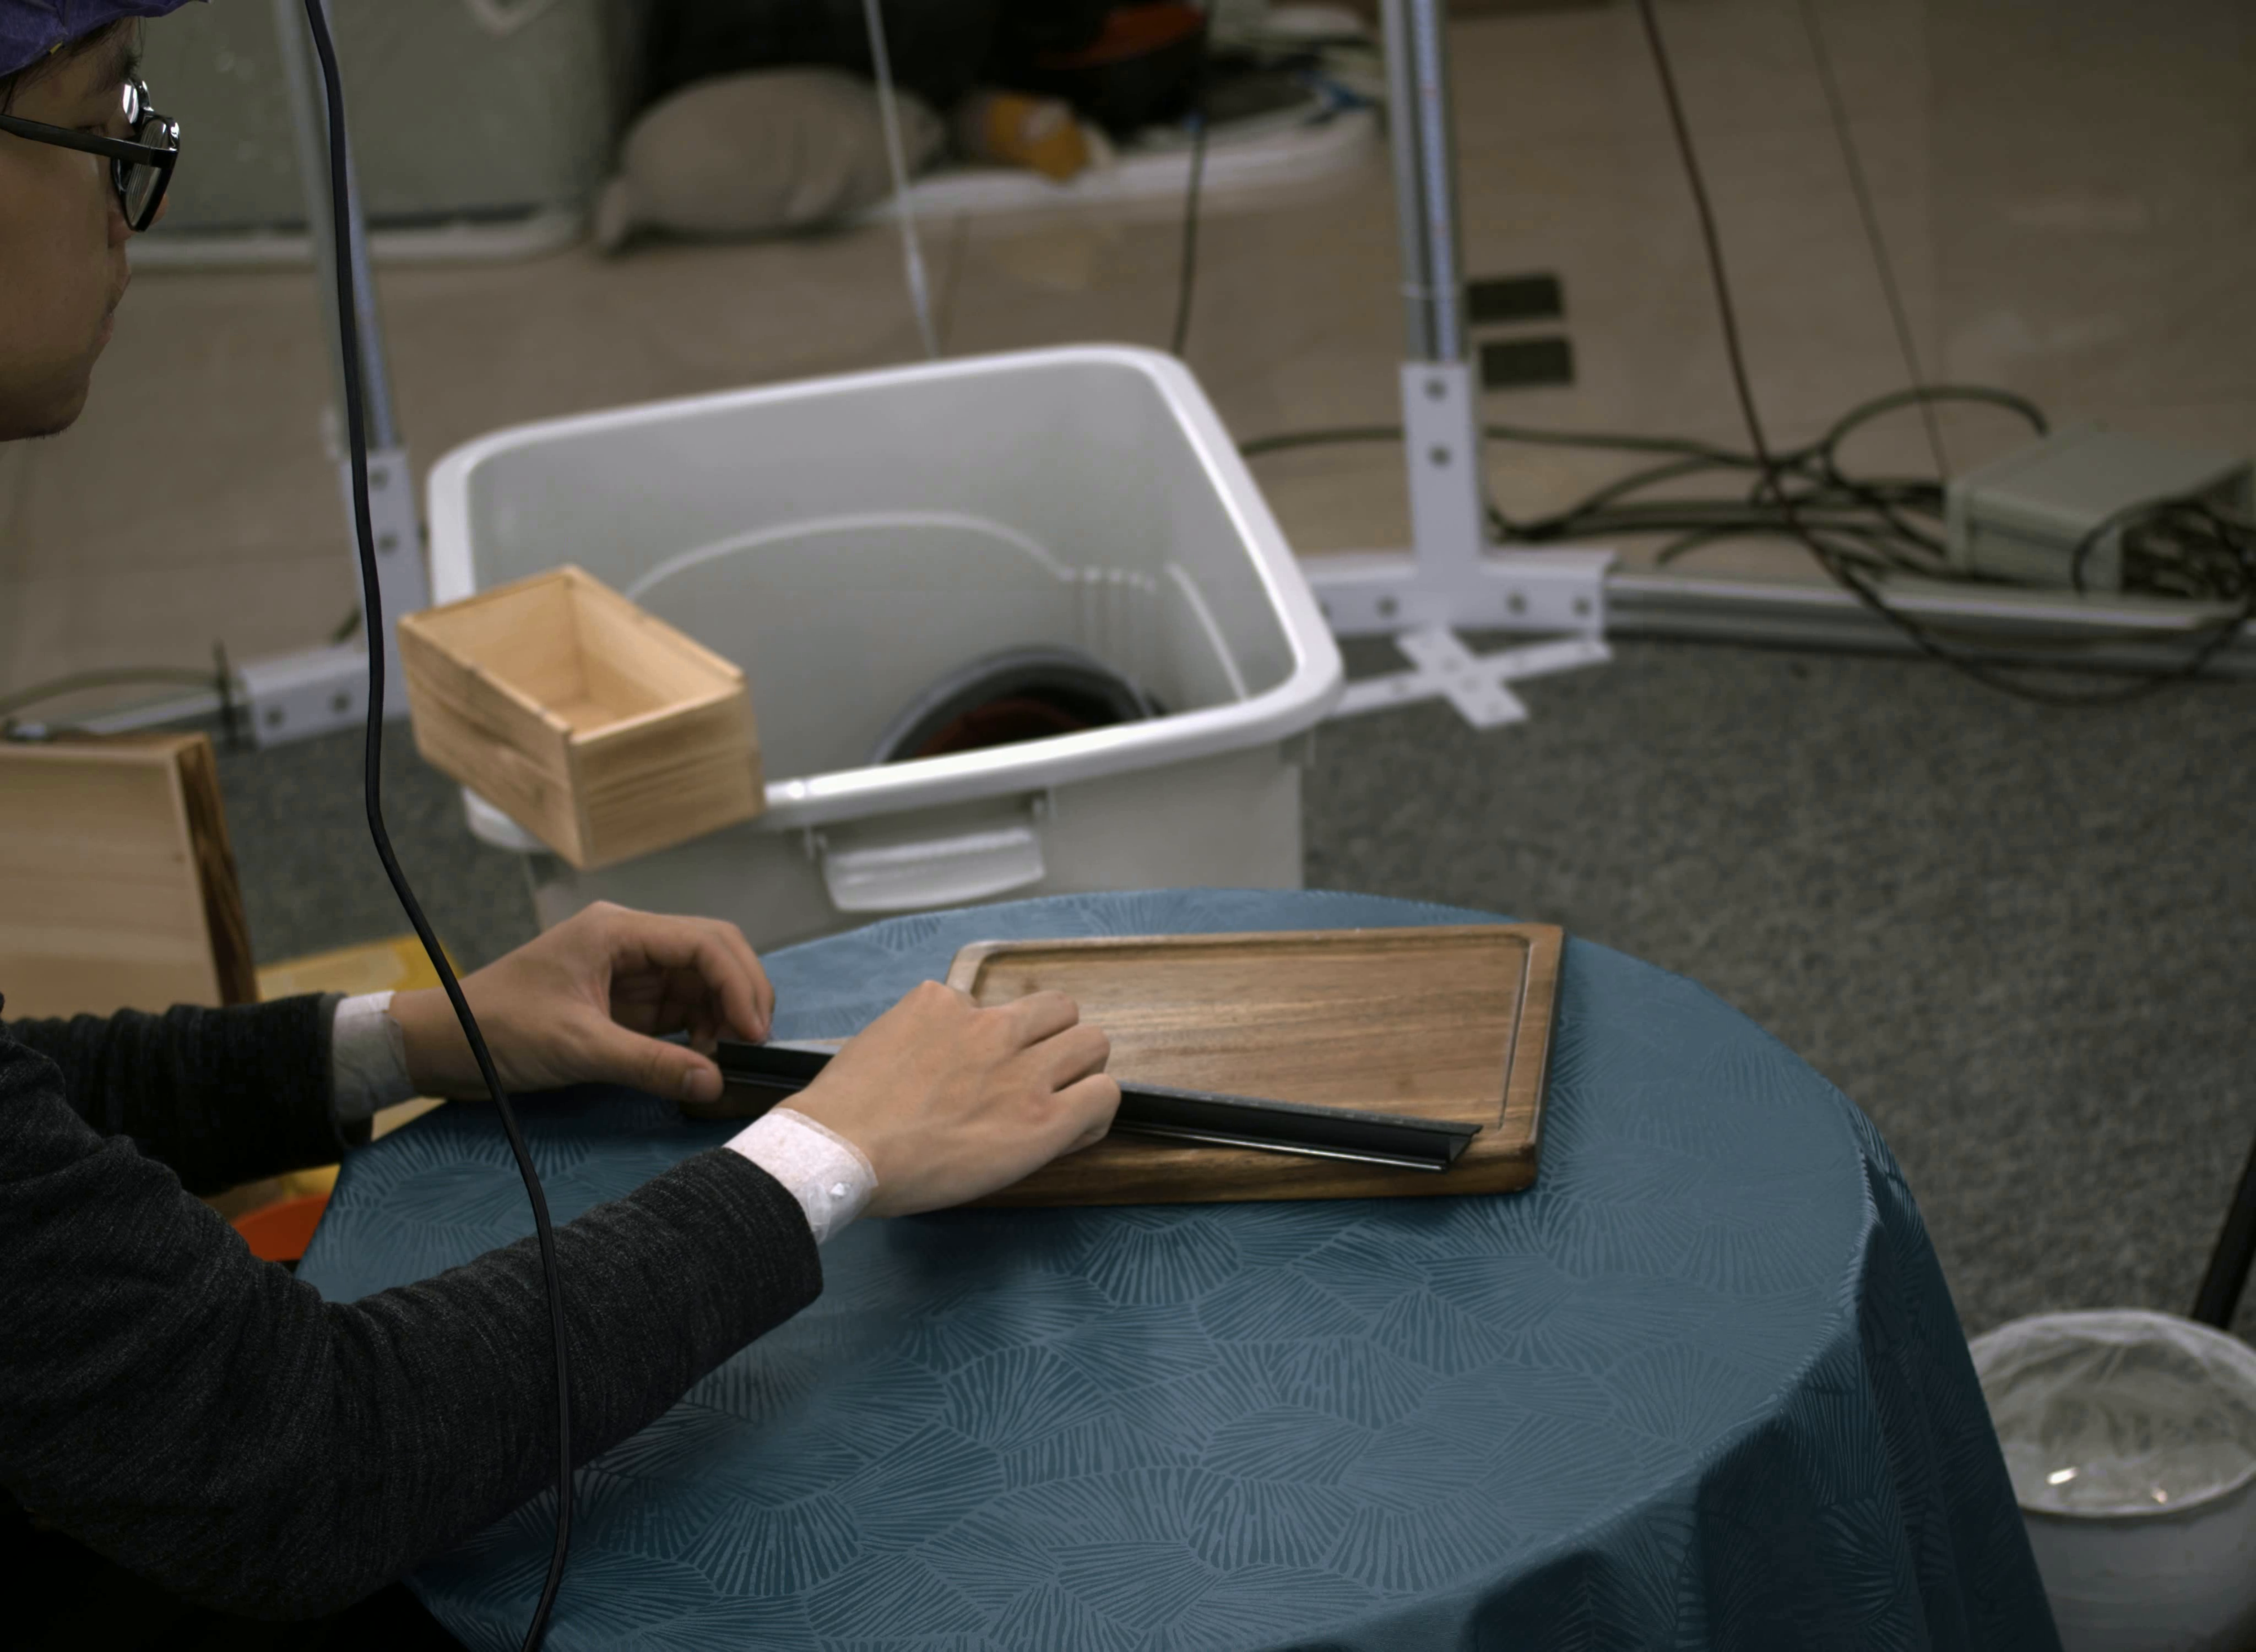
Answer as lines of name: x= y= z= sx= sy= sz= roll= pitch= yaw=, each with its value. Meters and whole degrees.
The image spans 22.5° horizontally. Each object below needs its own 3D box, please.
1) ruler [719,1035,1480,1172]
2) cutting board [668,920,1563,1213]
ruler: x=-0.014 y=0.099 z=2.171 sx=0.311 sy=0.017 sz=0.039 roll=6 pitch=25 yaw=25
cutting board: x=-0.008 y=0.094 z=2.222 sx=0.351 sy=0.023 sz=0.198 roll=-3 pitch=25 yaw=9
